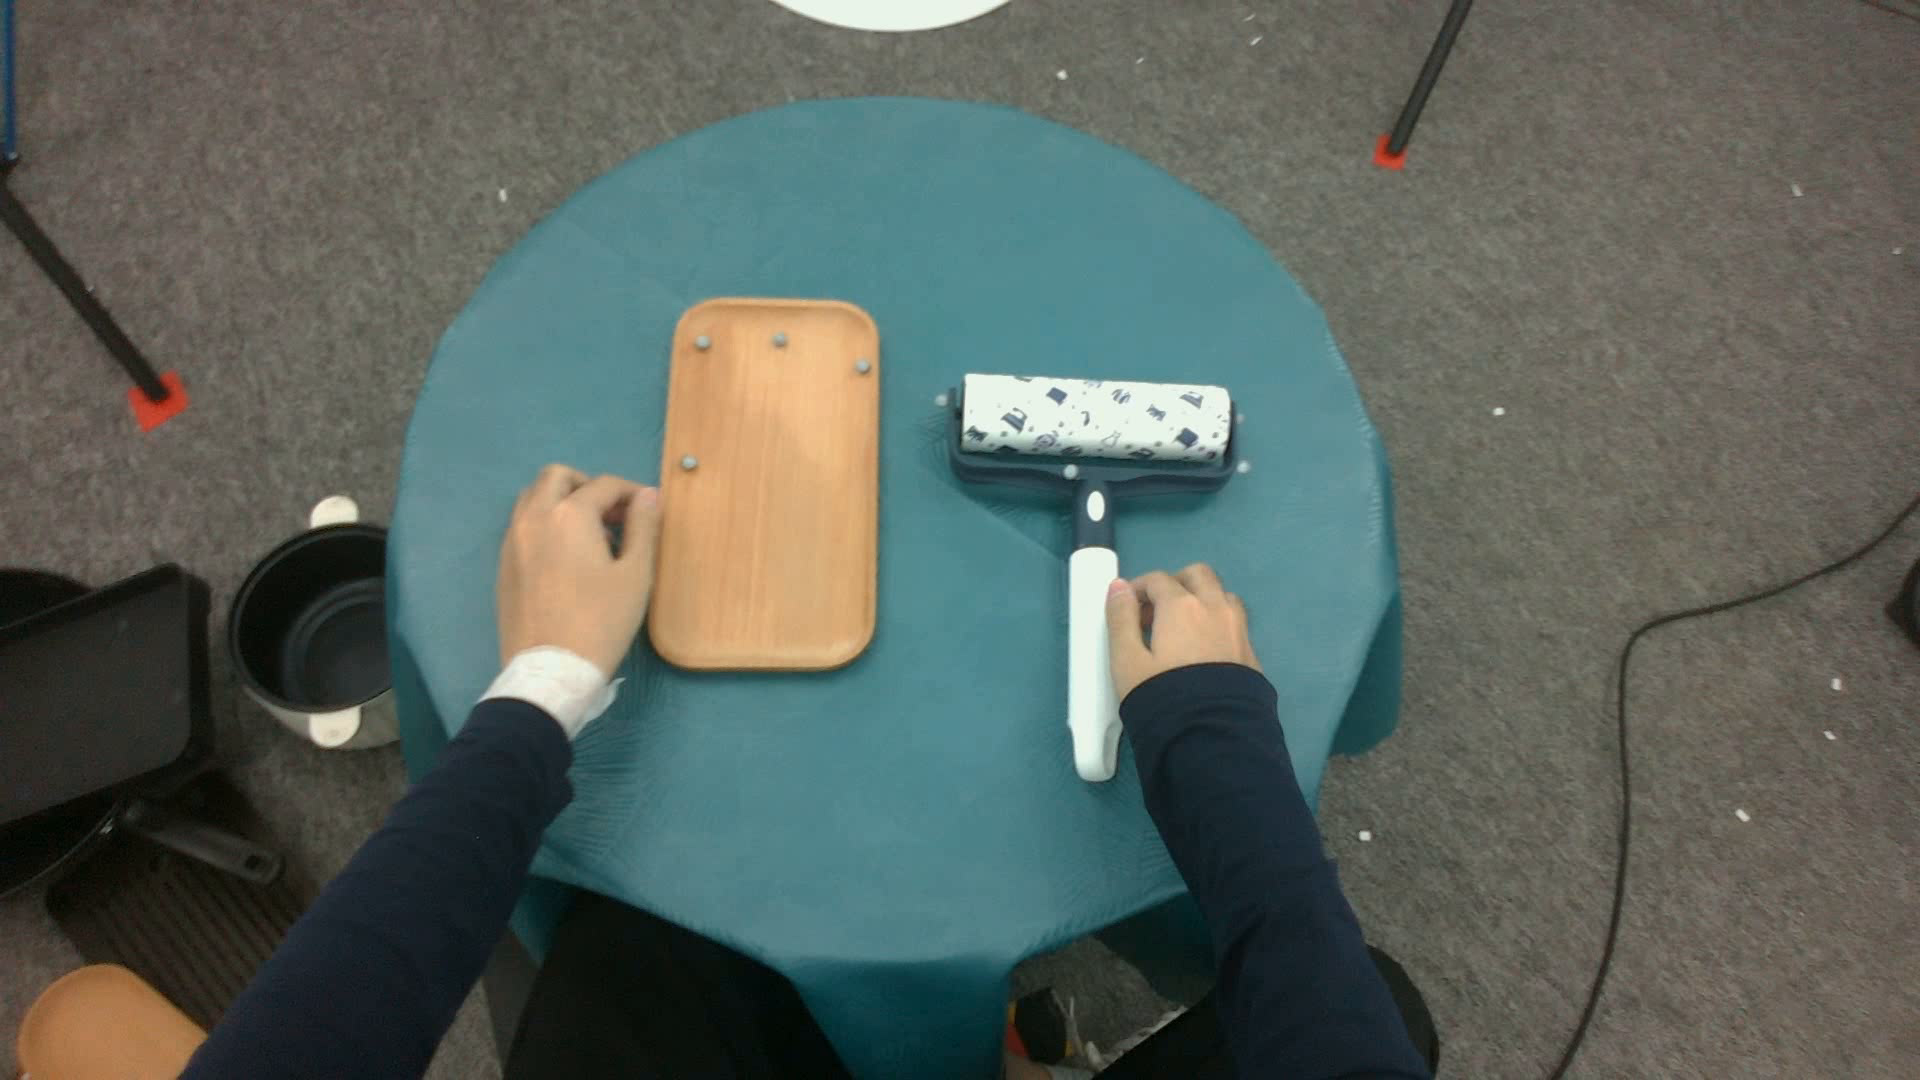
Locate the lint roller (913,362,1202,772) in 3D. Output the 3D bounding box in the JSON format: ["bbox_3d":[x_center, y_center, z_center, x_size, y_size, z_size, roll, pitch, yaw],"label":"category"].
[{"bbox_3d":[0.061,0.010,0.799,0.176,0.050,0.248,2,65,-6],"label":"lint roller"}]

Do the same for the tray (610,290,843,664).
[{"bbox_3d":[-0.134,-0.043,0.819,0.130,0.023,0.251,0,64,-3],"label":"tray"}]
